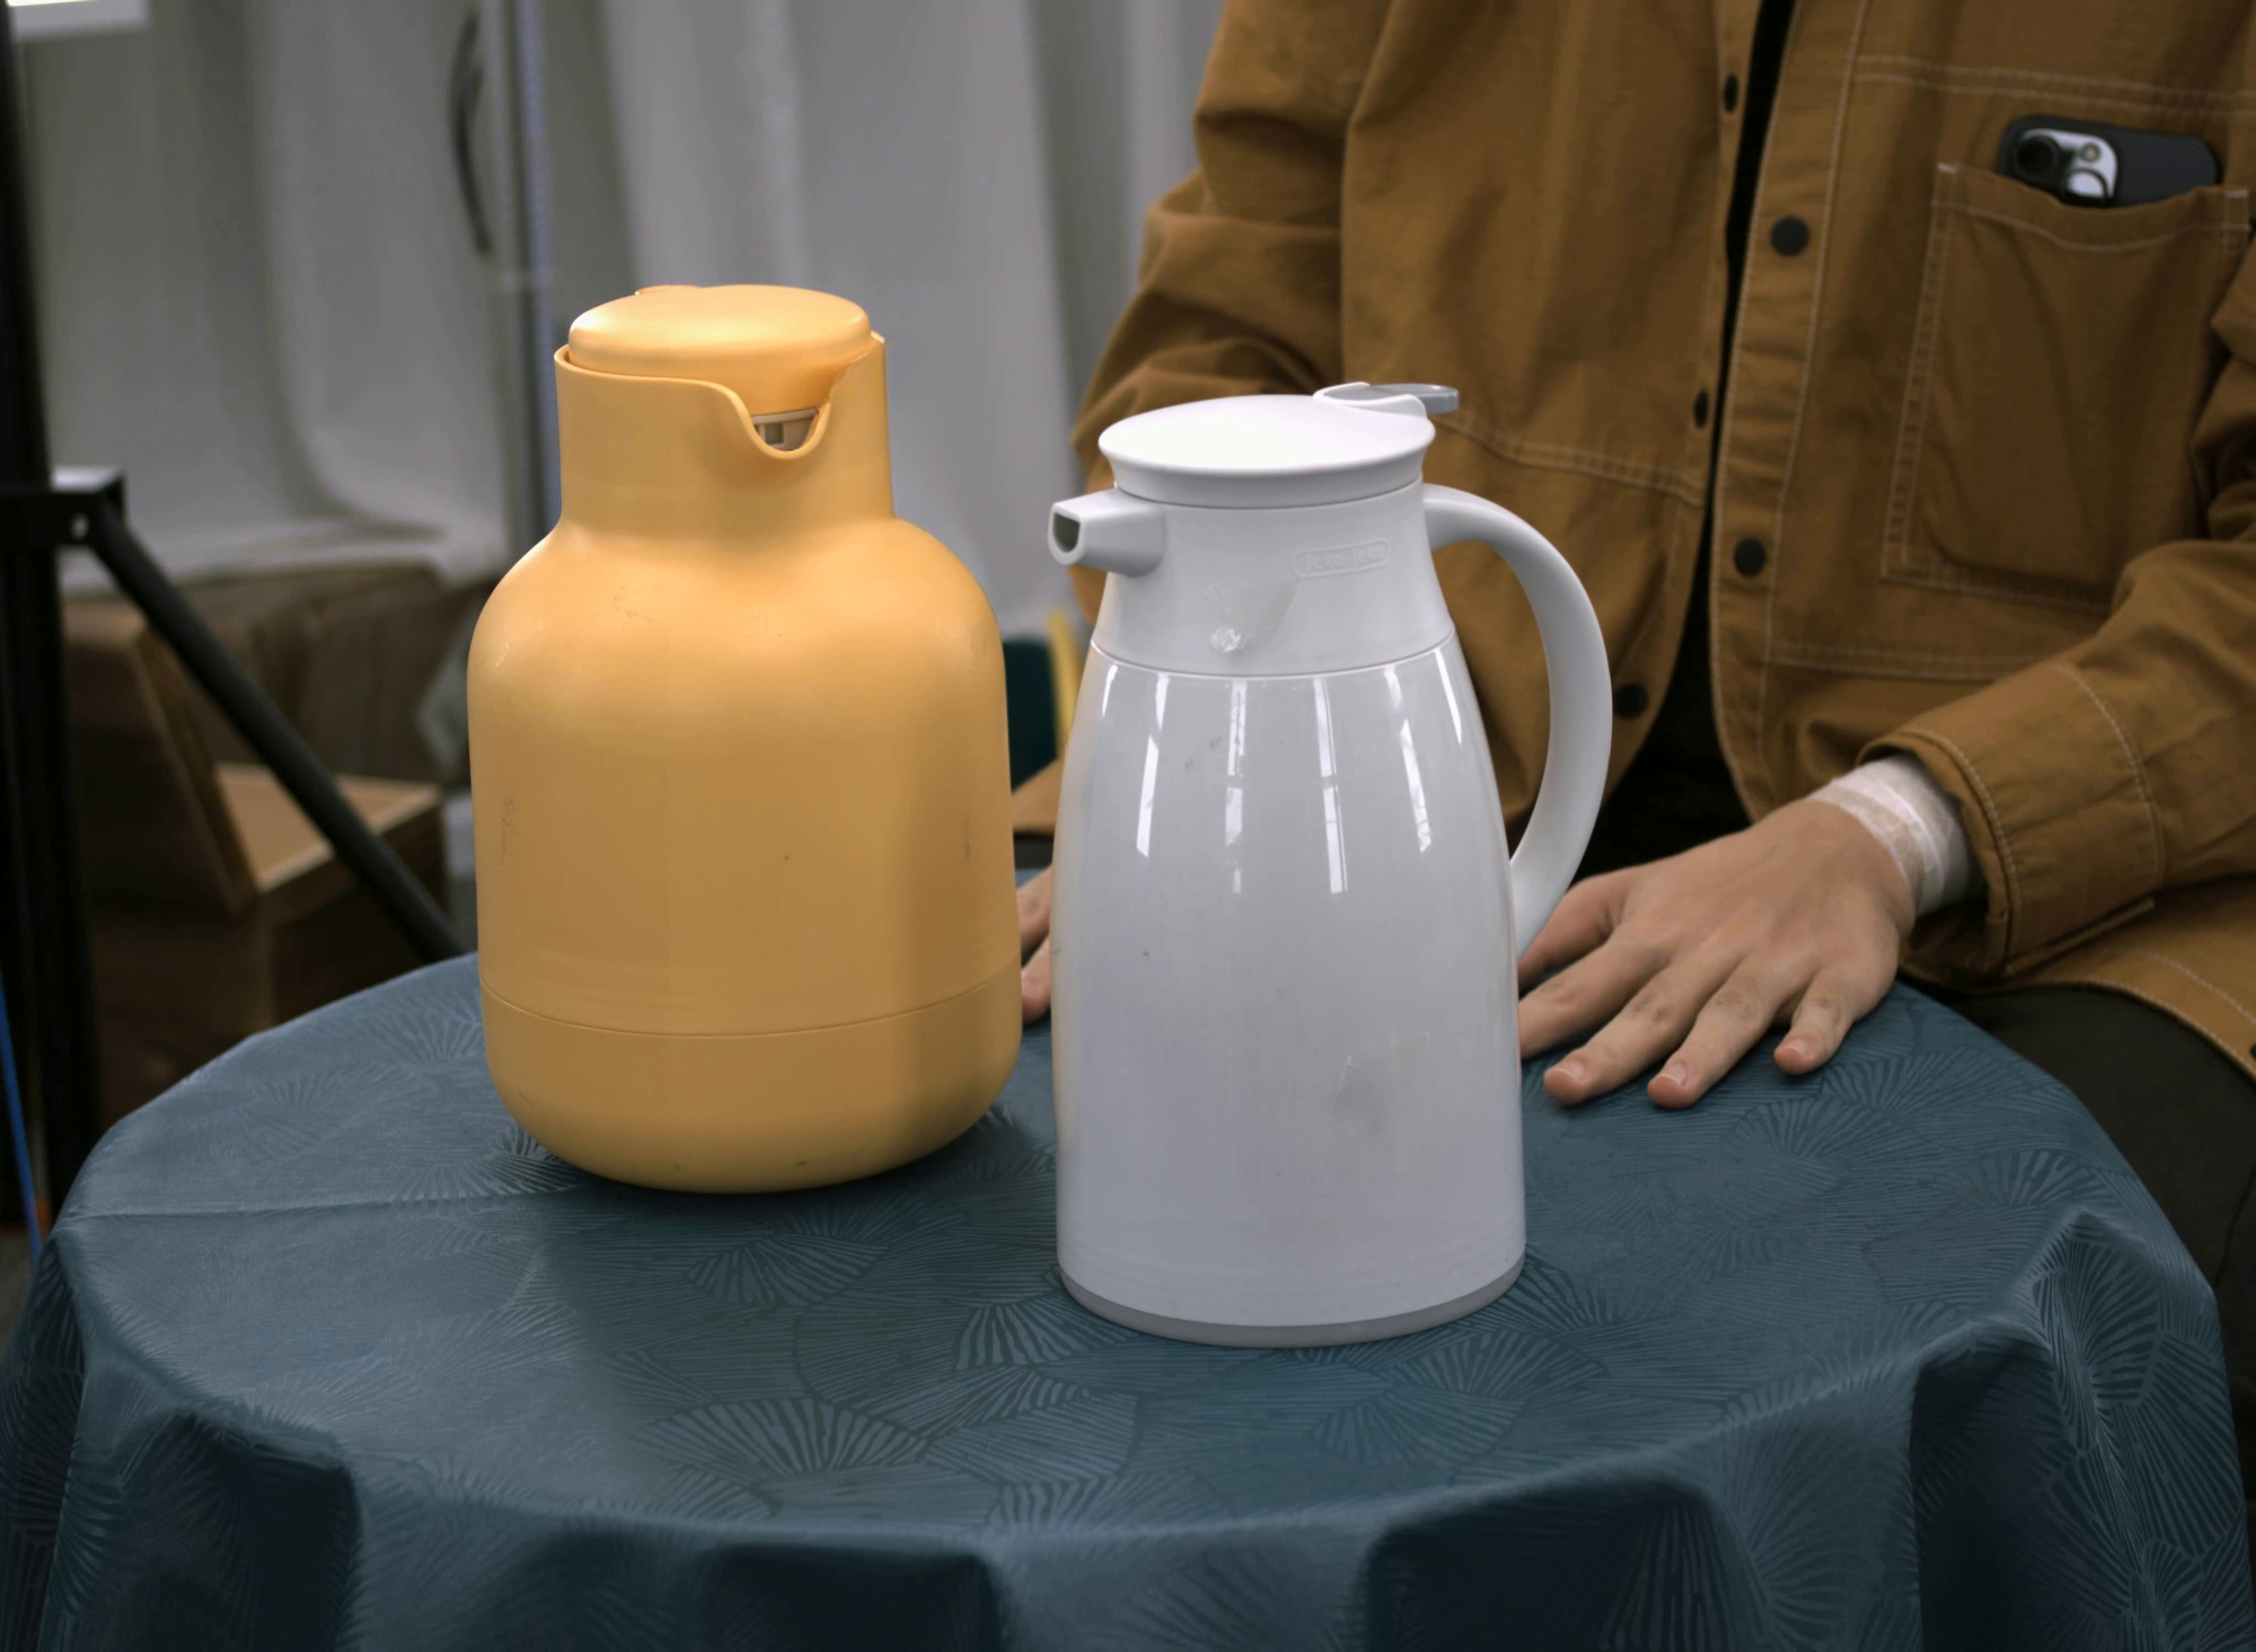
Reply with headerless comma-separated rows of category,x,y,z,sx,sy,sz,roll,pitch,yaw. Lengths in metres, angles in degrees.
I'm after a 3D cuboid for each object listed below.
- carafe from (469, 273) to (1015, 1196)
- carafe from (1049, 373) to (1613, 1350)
carafe,-0.120,-0.035,1.607,0.161,0.260,0.205,-4,16,-15
carafe,0.058,0.001,1.467,0.164,0.248,0.135,-9,16,-25
